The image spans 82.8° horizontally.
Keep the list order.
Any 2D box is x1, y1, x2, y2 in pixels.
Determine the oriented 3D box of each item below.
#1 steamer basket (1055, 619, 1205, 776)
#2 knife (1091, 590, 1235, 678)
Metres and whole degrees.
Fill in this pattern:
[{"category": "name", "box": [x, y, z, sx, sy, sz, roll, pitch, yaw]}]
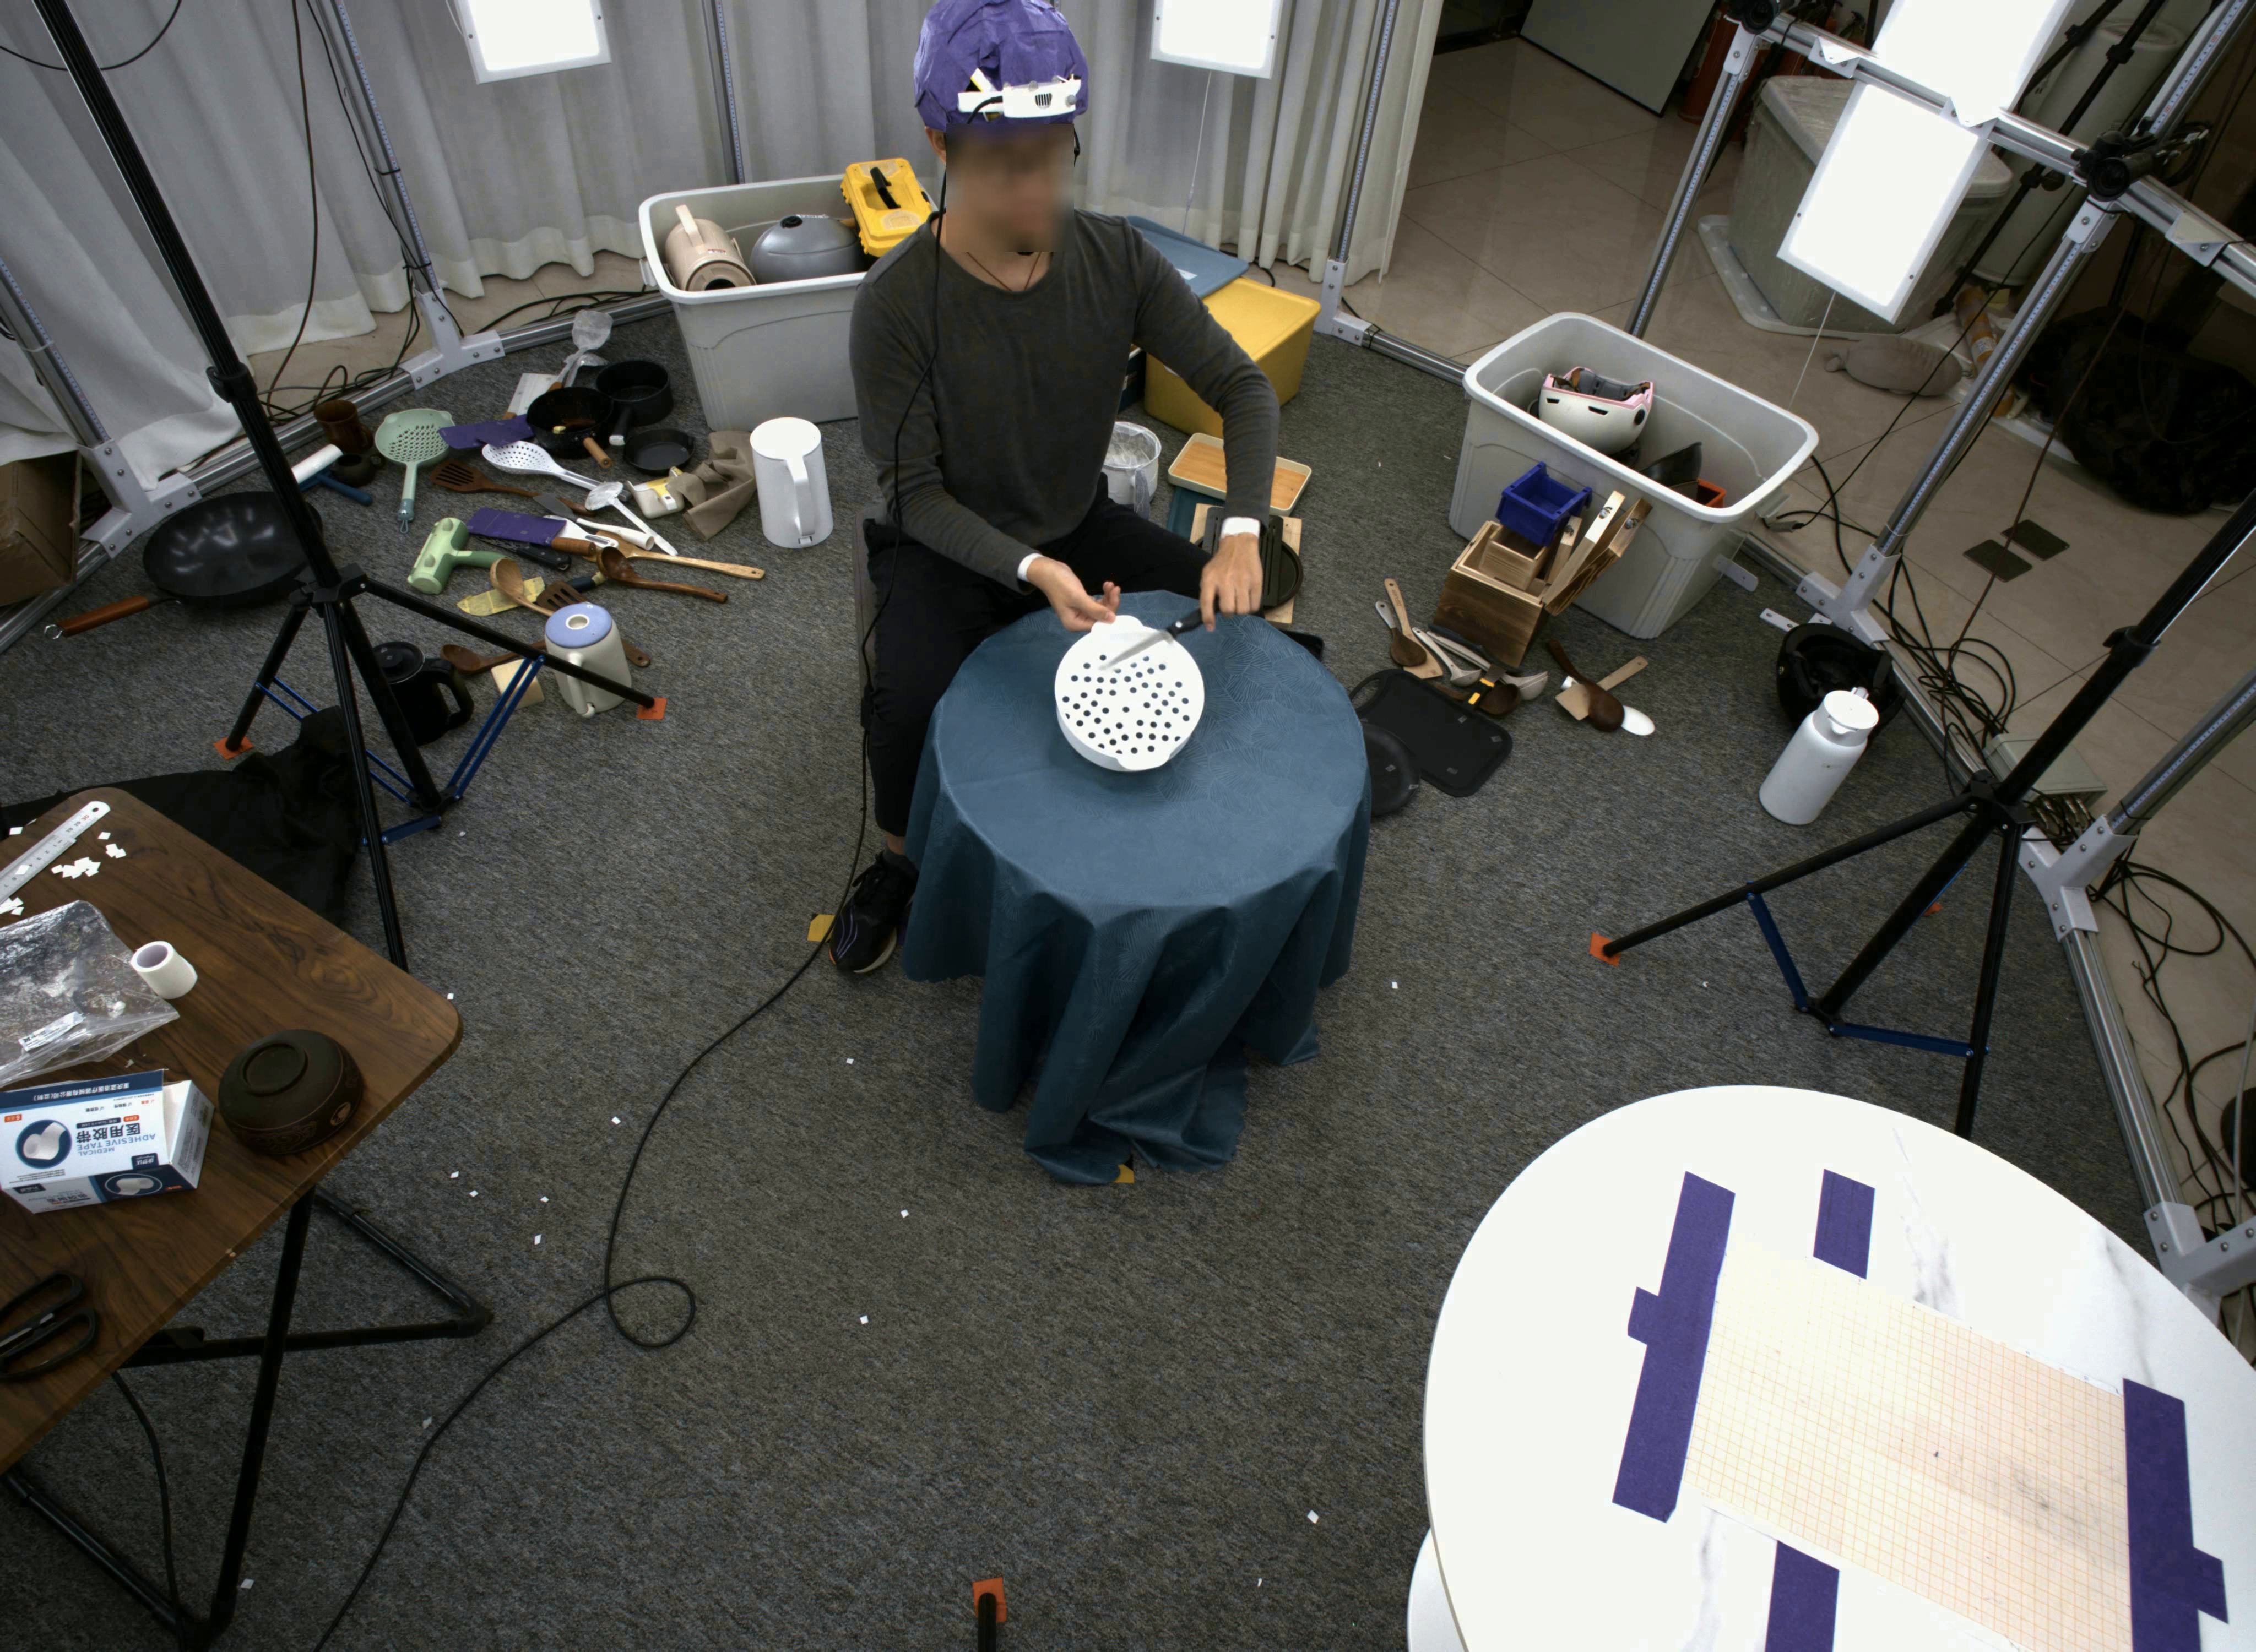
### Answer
[{"category": "steamer basket", "box": [0.001, -0.167, 1.740, 0.202, 0.068, 0.235, -8, 67, -8]}, {"category": "knife", "box": [0.047, -0.262, 1.746, 0.239, 0.016, 0.025, -32, 73, -16]}]
